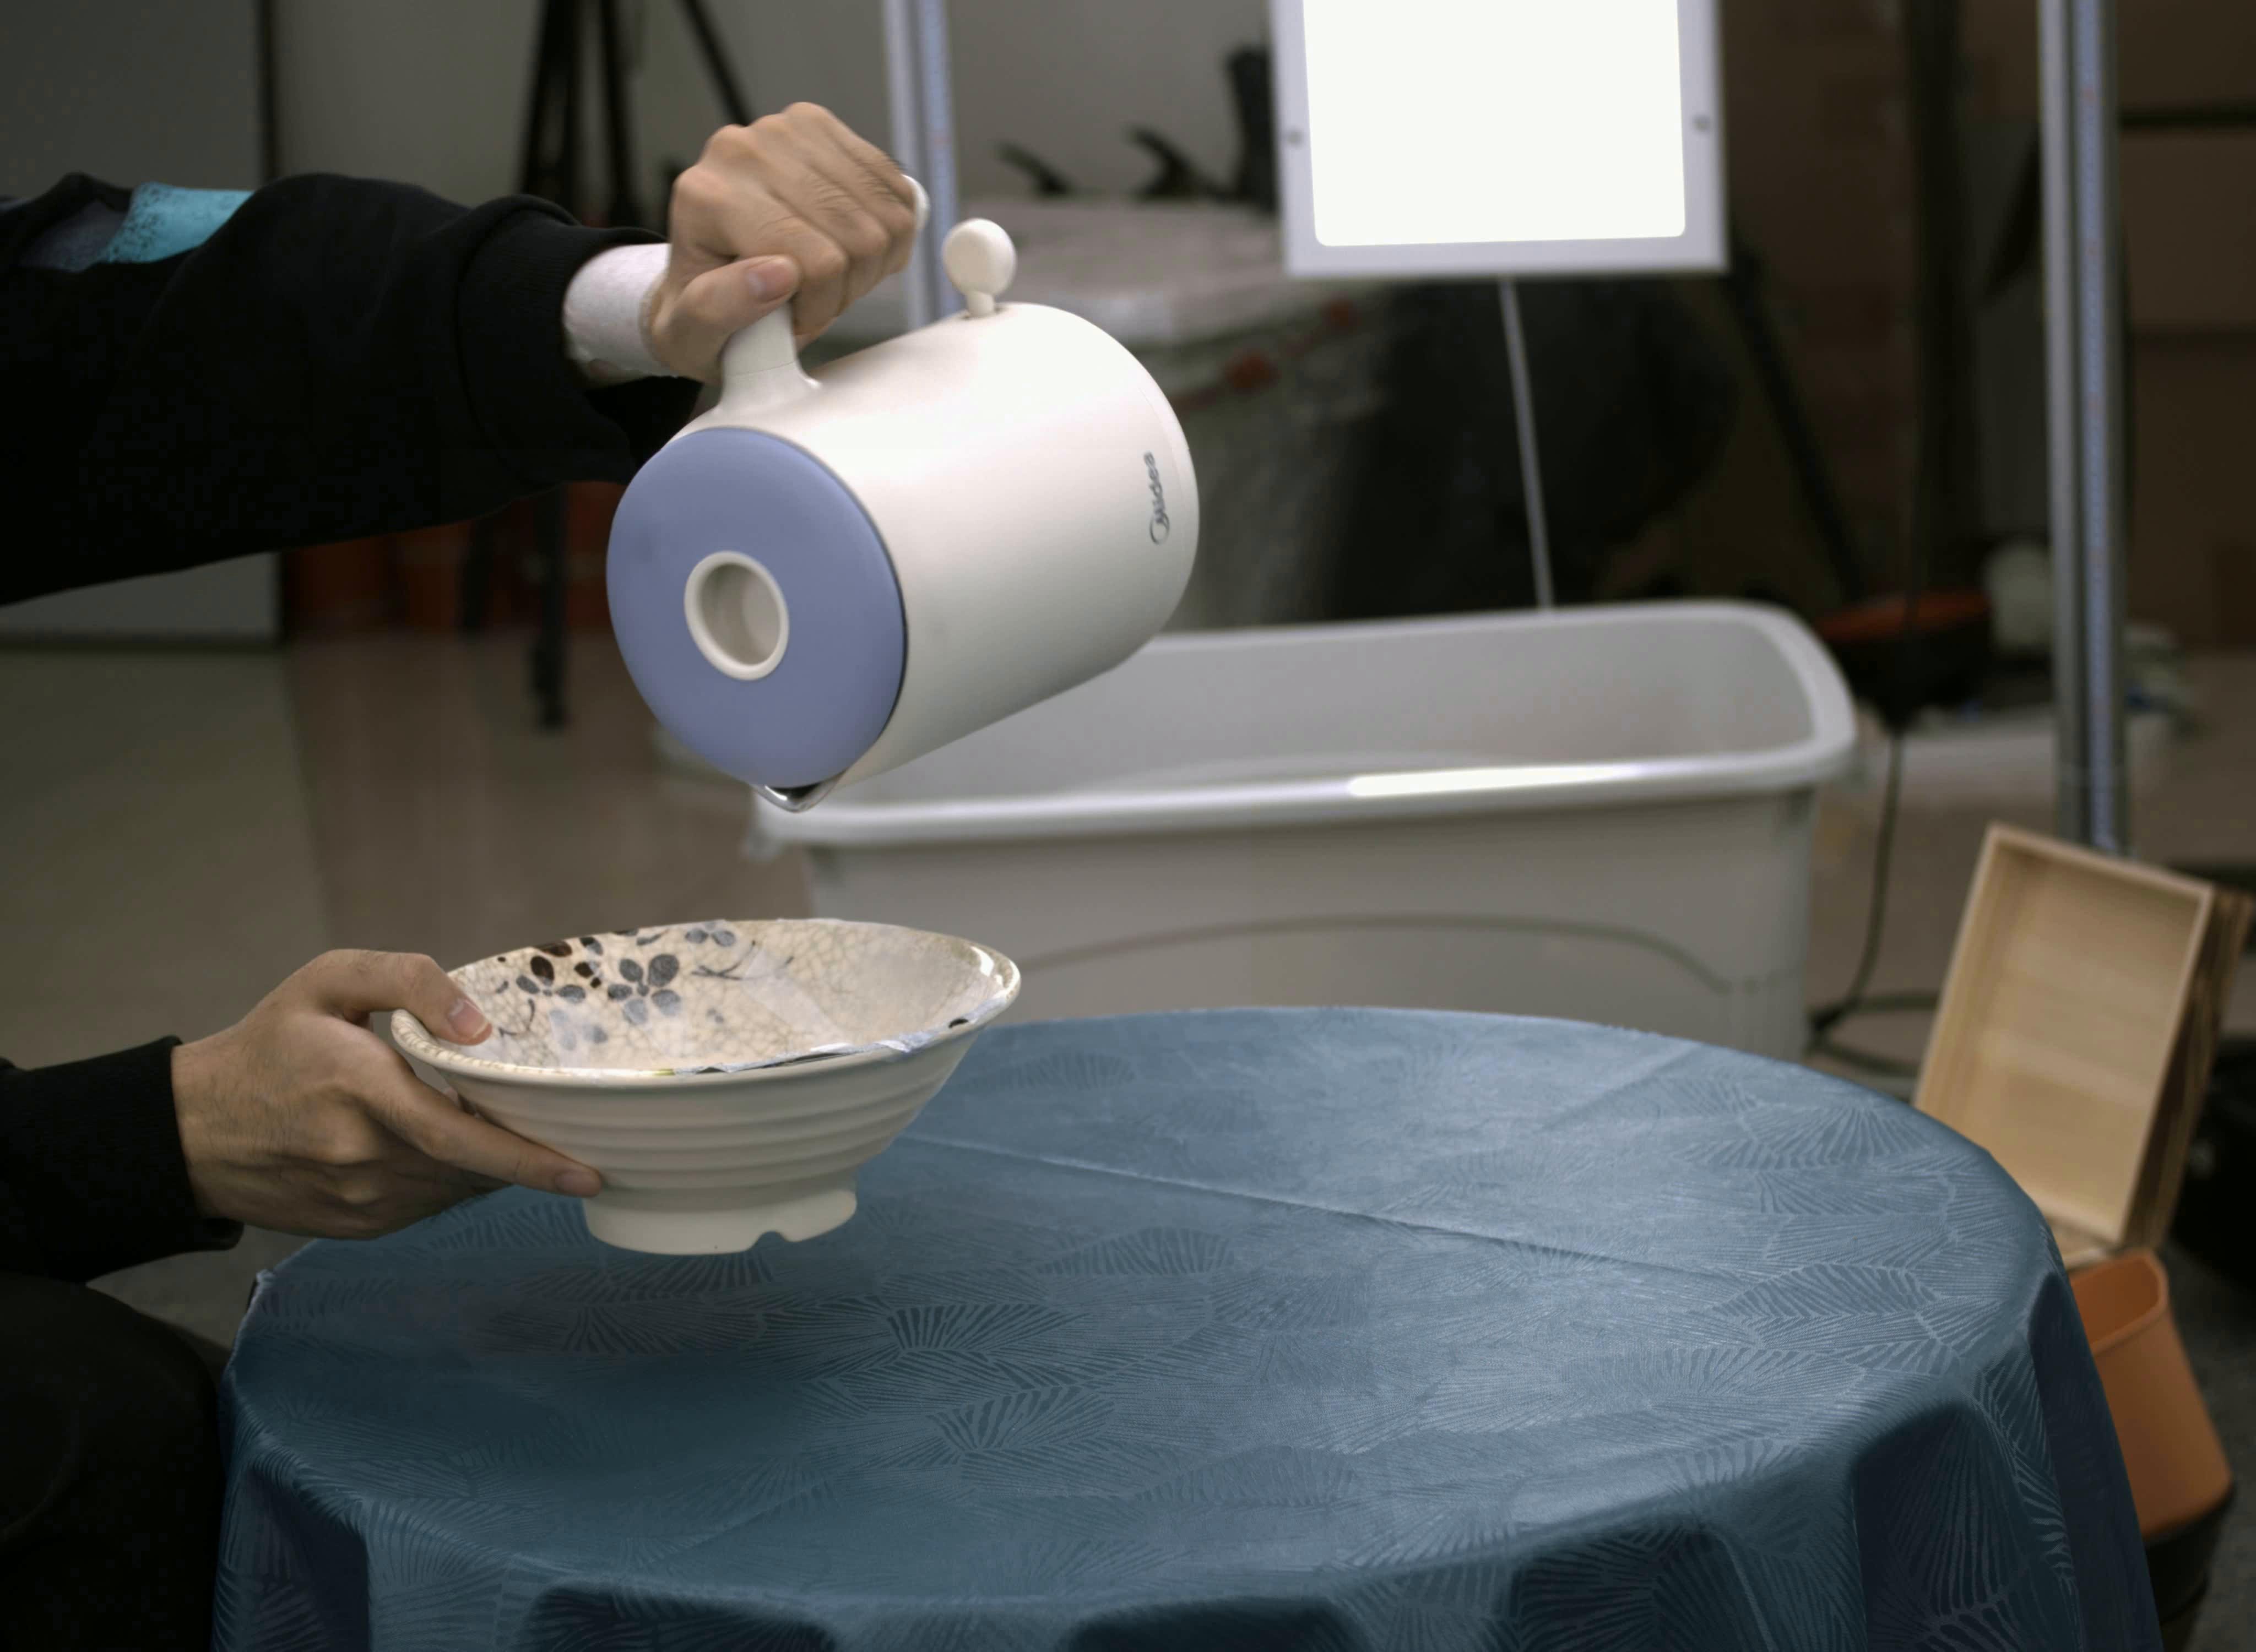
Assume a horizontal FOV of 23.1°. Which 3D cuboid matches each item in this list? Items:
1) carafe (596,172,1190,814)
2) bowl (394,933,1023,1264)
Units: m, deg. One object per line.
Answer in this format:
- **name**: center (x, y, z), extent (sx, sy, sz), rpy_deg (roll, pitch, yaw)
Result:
- **carafe**: center (-0.081, -0.116, 1.804), extent (0.135, 0.191, 0.178), rpy_deg (-3, 13, 37)
- **bowl**: center (-0.131, 0.092, 1.777), extent (0.203, 0.078, 0.204), rpy_deg (-6, 10, 0)
